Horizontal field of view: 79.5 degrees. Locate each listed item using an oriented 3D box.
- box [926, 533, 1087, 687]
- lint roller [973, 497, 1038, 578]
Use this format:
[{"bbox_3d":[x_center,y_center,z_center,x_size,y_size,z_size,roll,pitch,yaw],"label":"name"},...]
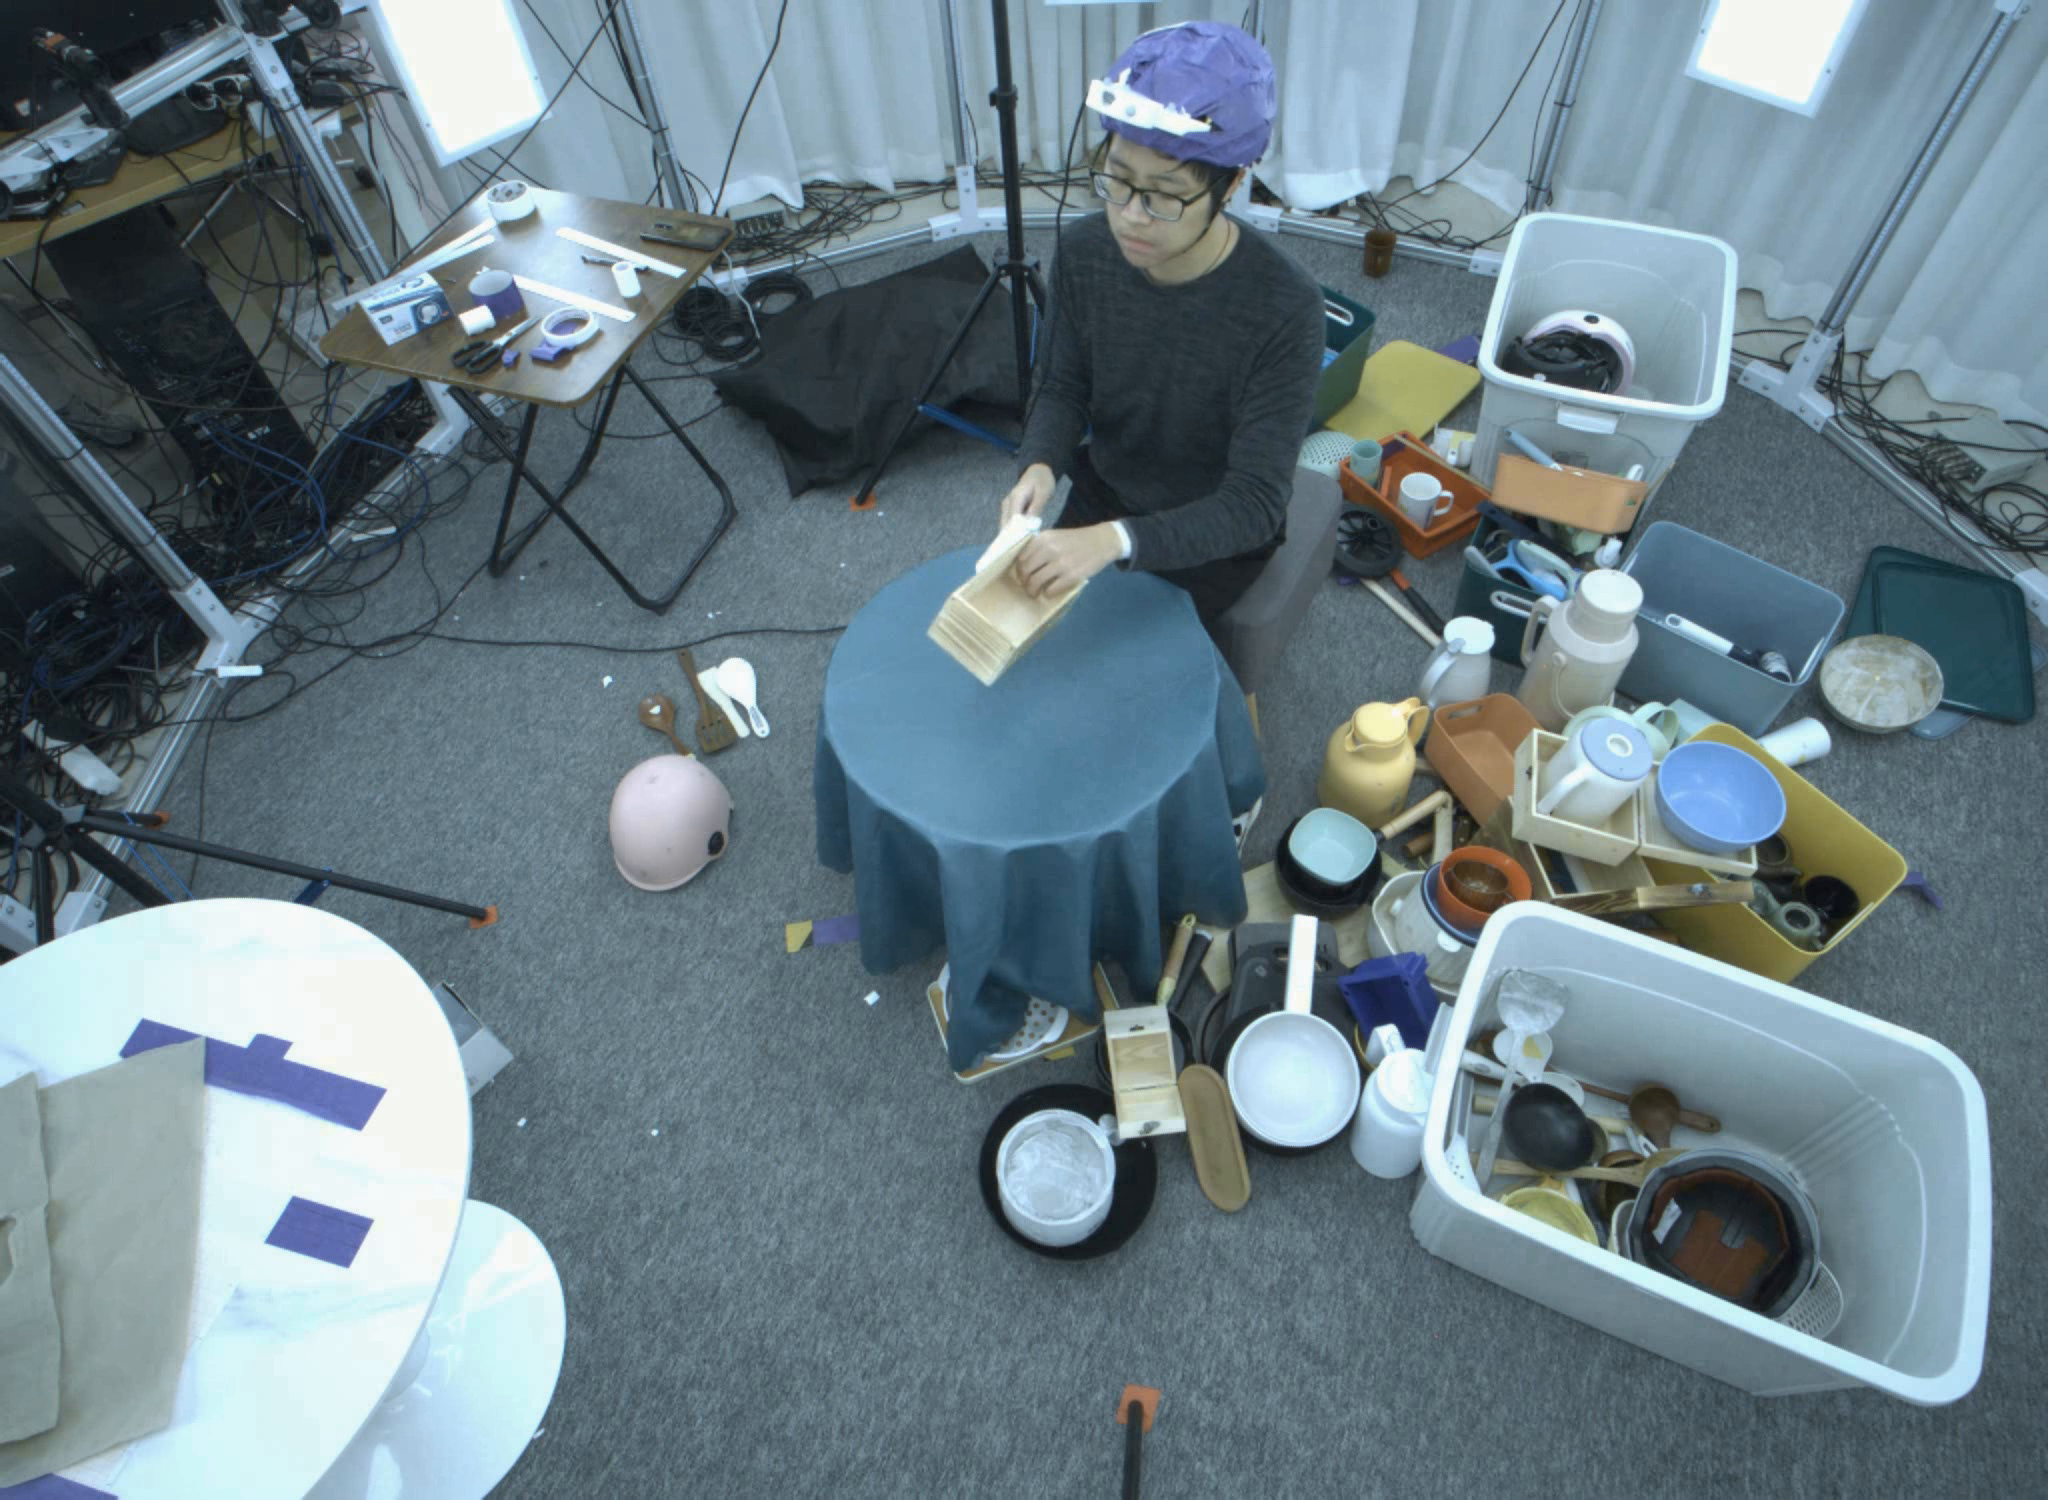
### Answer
[{"bbox_3d":[-0.021,-0.186,1.603,0.107,0.080,0.212,40,42,1],"label":"box"},{"bbox_3d":[-0.016,-0.323,1.753,0.051,0.132,0.179,28,42,-15],"label":"lint roller"}]
